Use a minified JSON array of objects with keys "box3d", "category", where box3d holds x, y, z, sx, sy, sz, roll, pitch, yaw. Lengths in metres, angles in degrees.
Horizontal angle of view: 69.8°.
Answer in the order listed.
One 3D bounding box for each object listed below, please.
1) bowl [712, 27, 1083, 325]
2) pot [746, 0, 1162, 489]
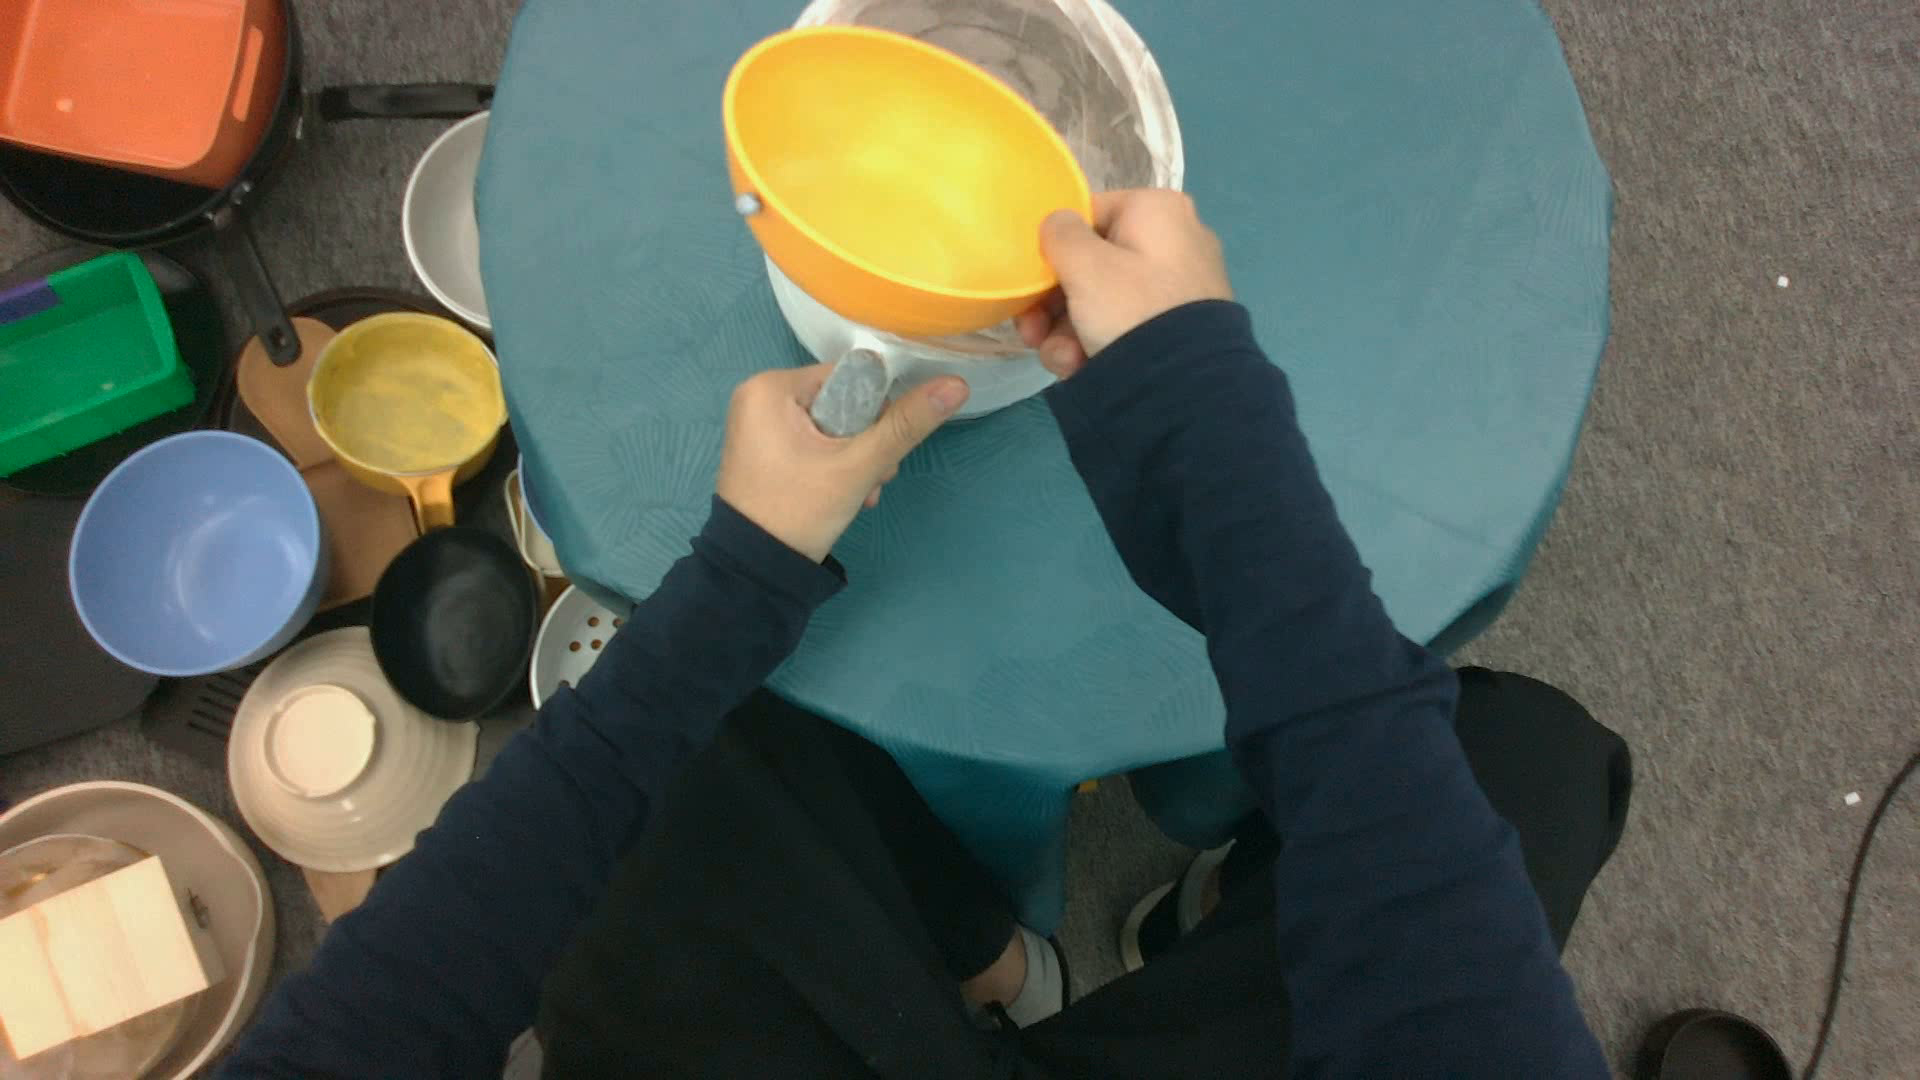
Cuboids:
[{"box3d":[-0.030,-0.130,0.533,0.145,0.060,0.146,13,49,-16],"category":"bowl"},{"box3d":[-0.022,-0.134,0.631,0.179,0.136,0.234,26,81,-5],"category":"pot"}]
